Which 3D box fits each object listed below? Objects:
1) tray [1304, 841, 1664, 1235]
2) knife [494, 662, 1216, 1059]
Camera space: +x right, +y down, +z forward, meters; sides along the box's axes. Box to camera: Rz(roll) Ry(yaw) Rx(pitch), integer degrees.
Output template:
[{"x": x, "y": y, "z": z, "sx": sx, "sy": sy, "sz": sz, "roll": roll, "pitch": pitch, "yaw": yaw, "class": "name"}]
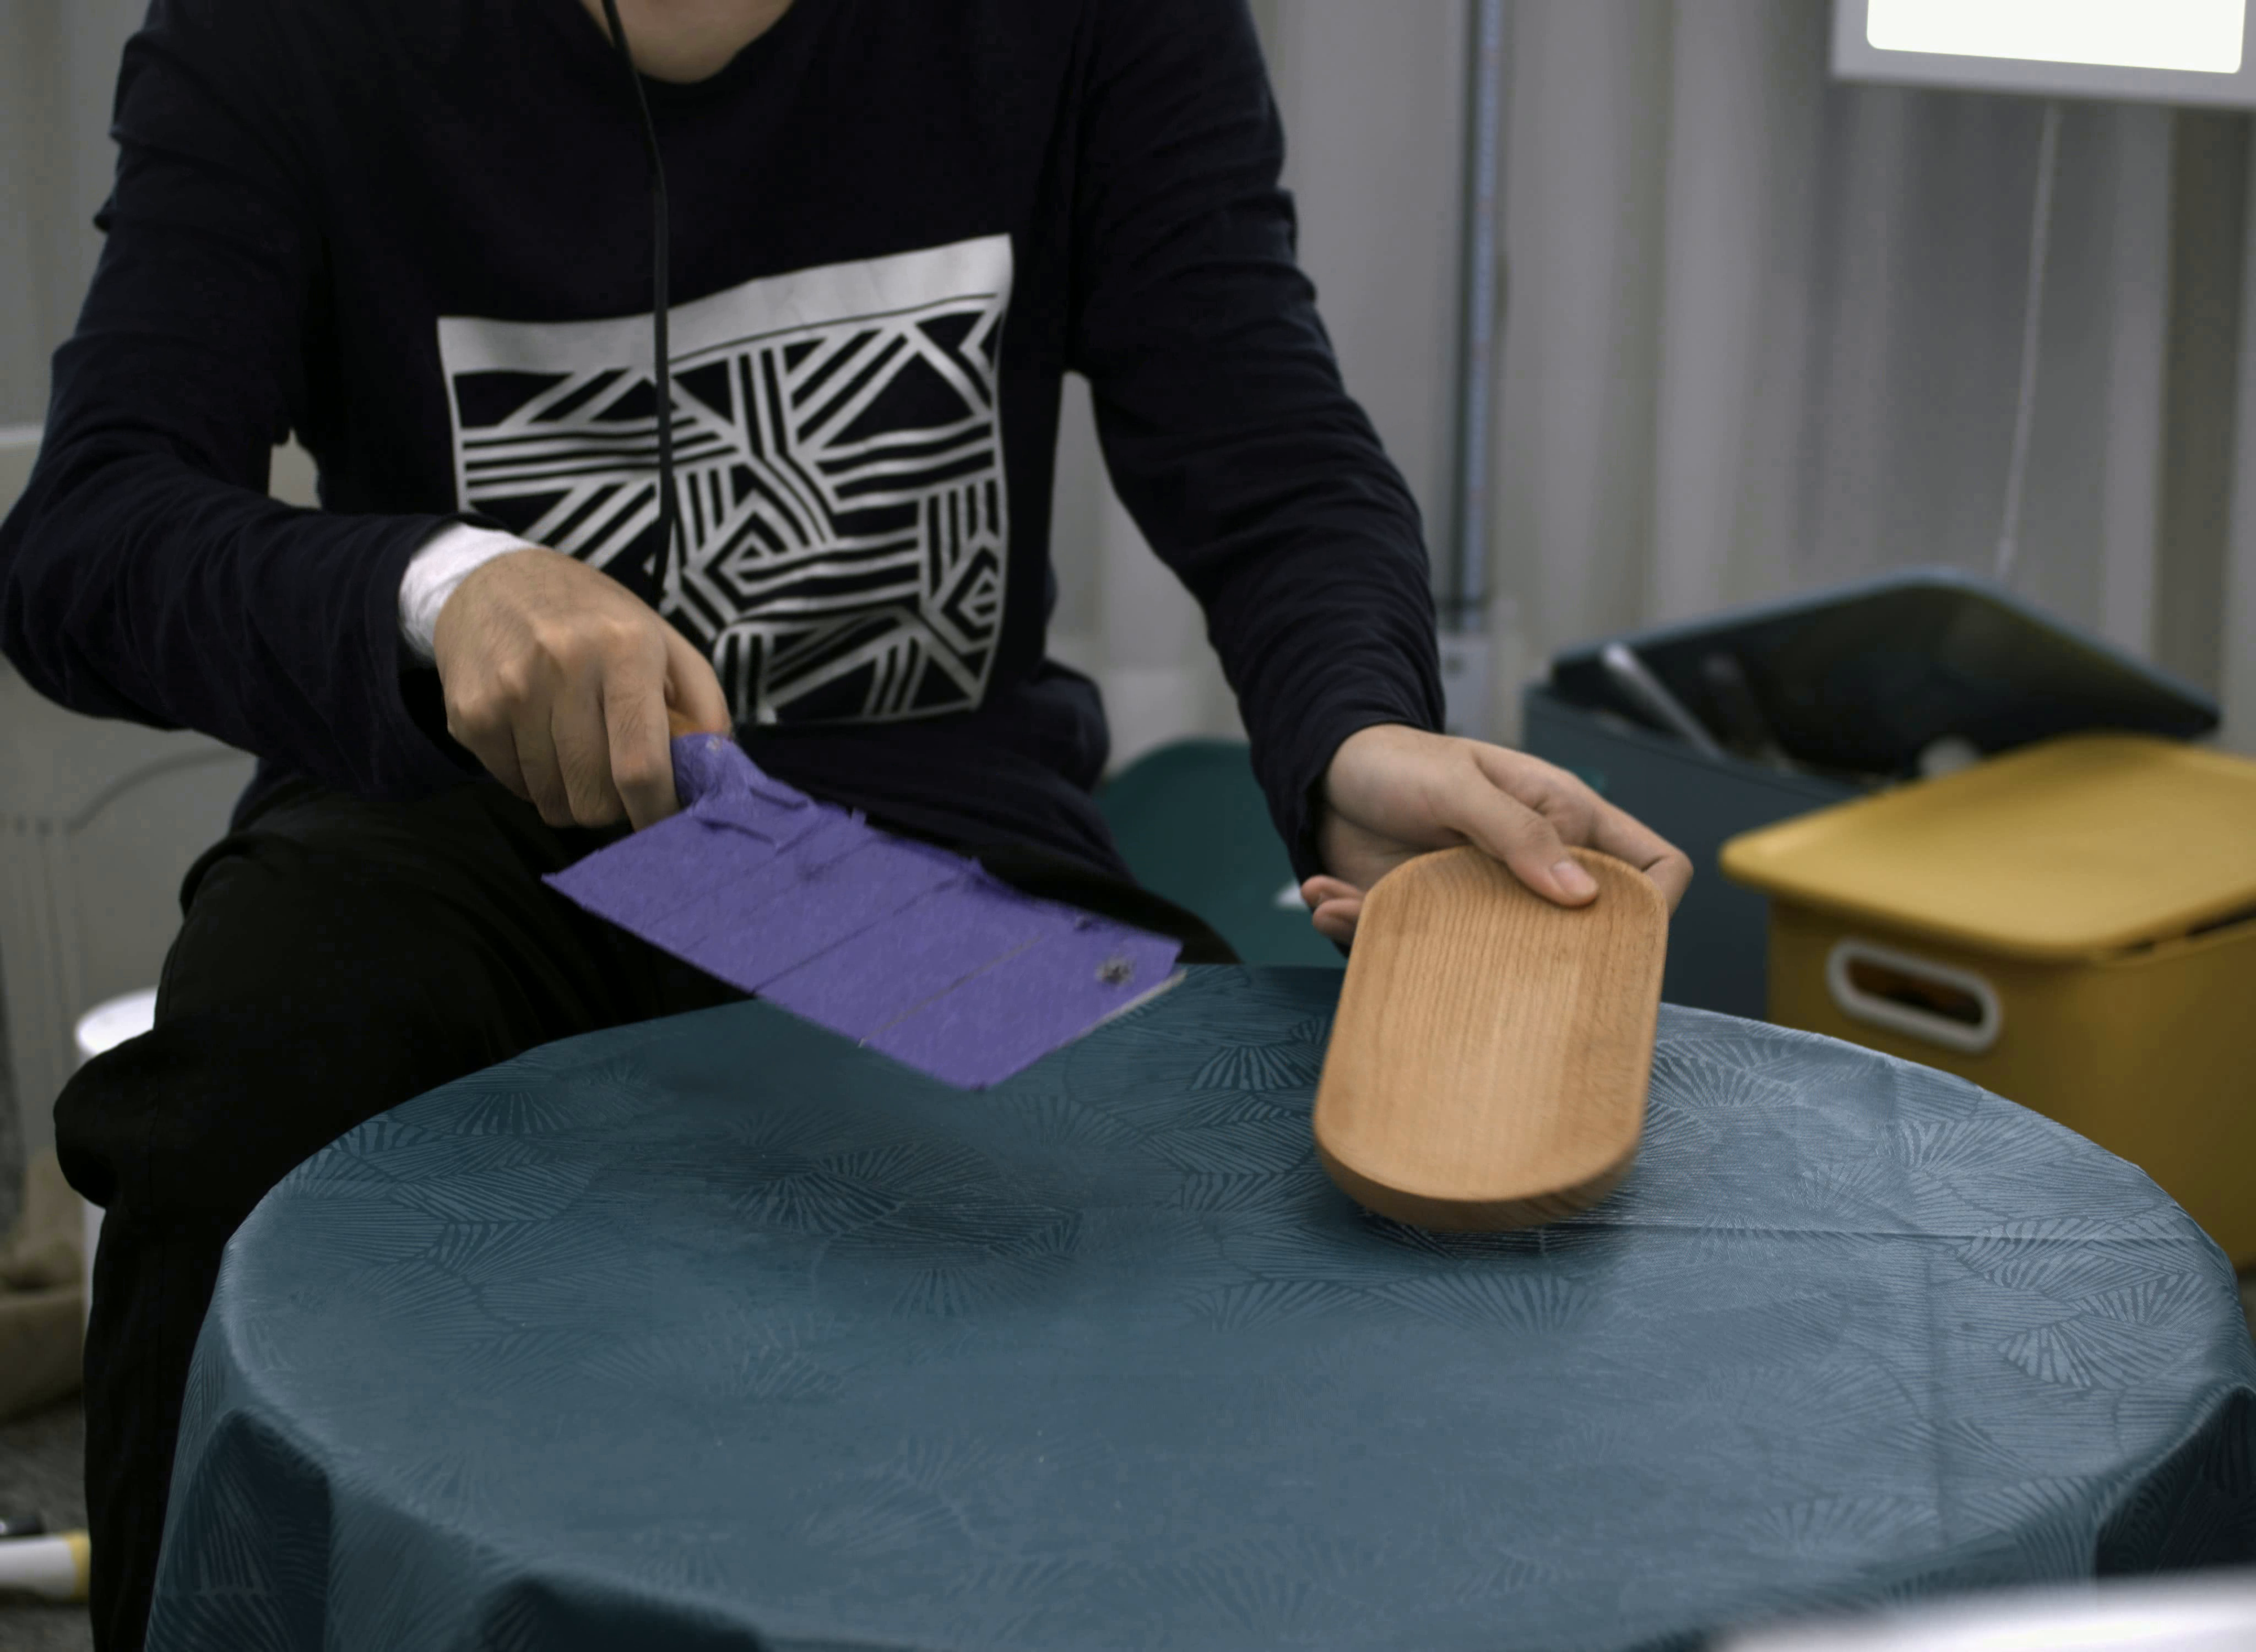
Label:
[{"x": 0.114, "y": 0.064, "z": 1.660, "sx": 0.101, "sy": 0.020, "sz": 0.230, "roll": 1, "pitch": 29, "yaw": 10, "class": "tray"}, {"x": -0.116, "y": 0.008, "z": 1.648, "sx": 0.104, "sy": 0.032, "sz": 0.311, "roll": -28, "pitch": 33, "yaw": -37, "class": "knife"}]
